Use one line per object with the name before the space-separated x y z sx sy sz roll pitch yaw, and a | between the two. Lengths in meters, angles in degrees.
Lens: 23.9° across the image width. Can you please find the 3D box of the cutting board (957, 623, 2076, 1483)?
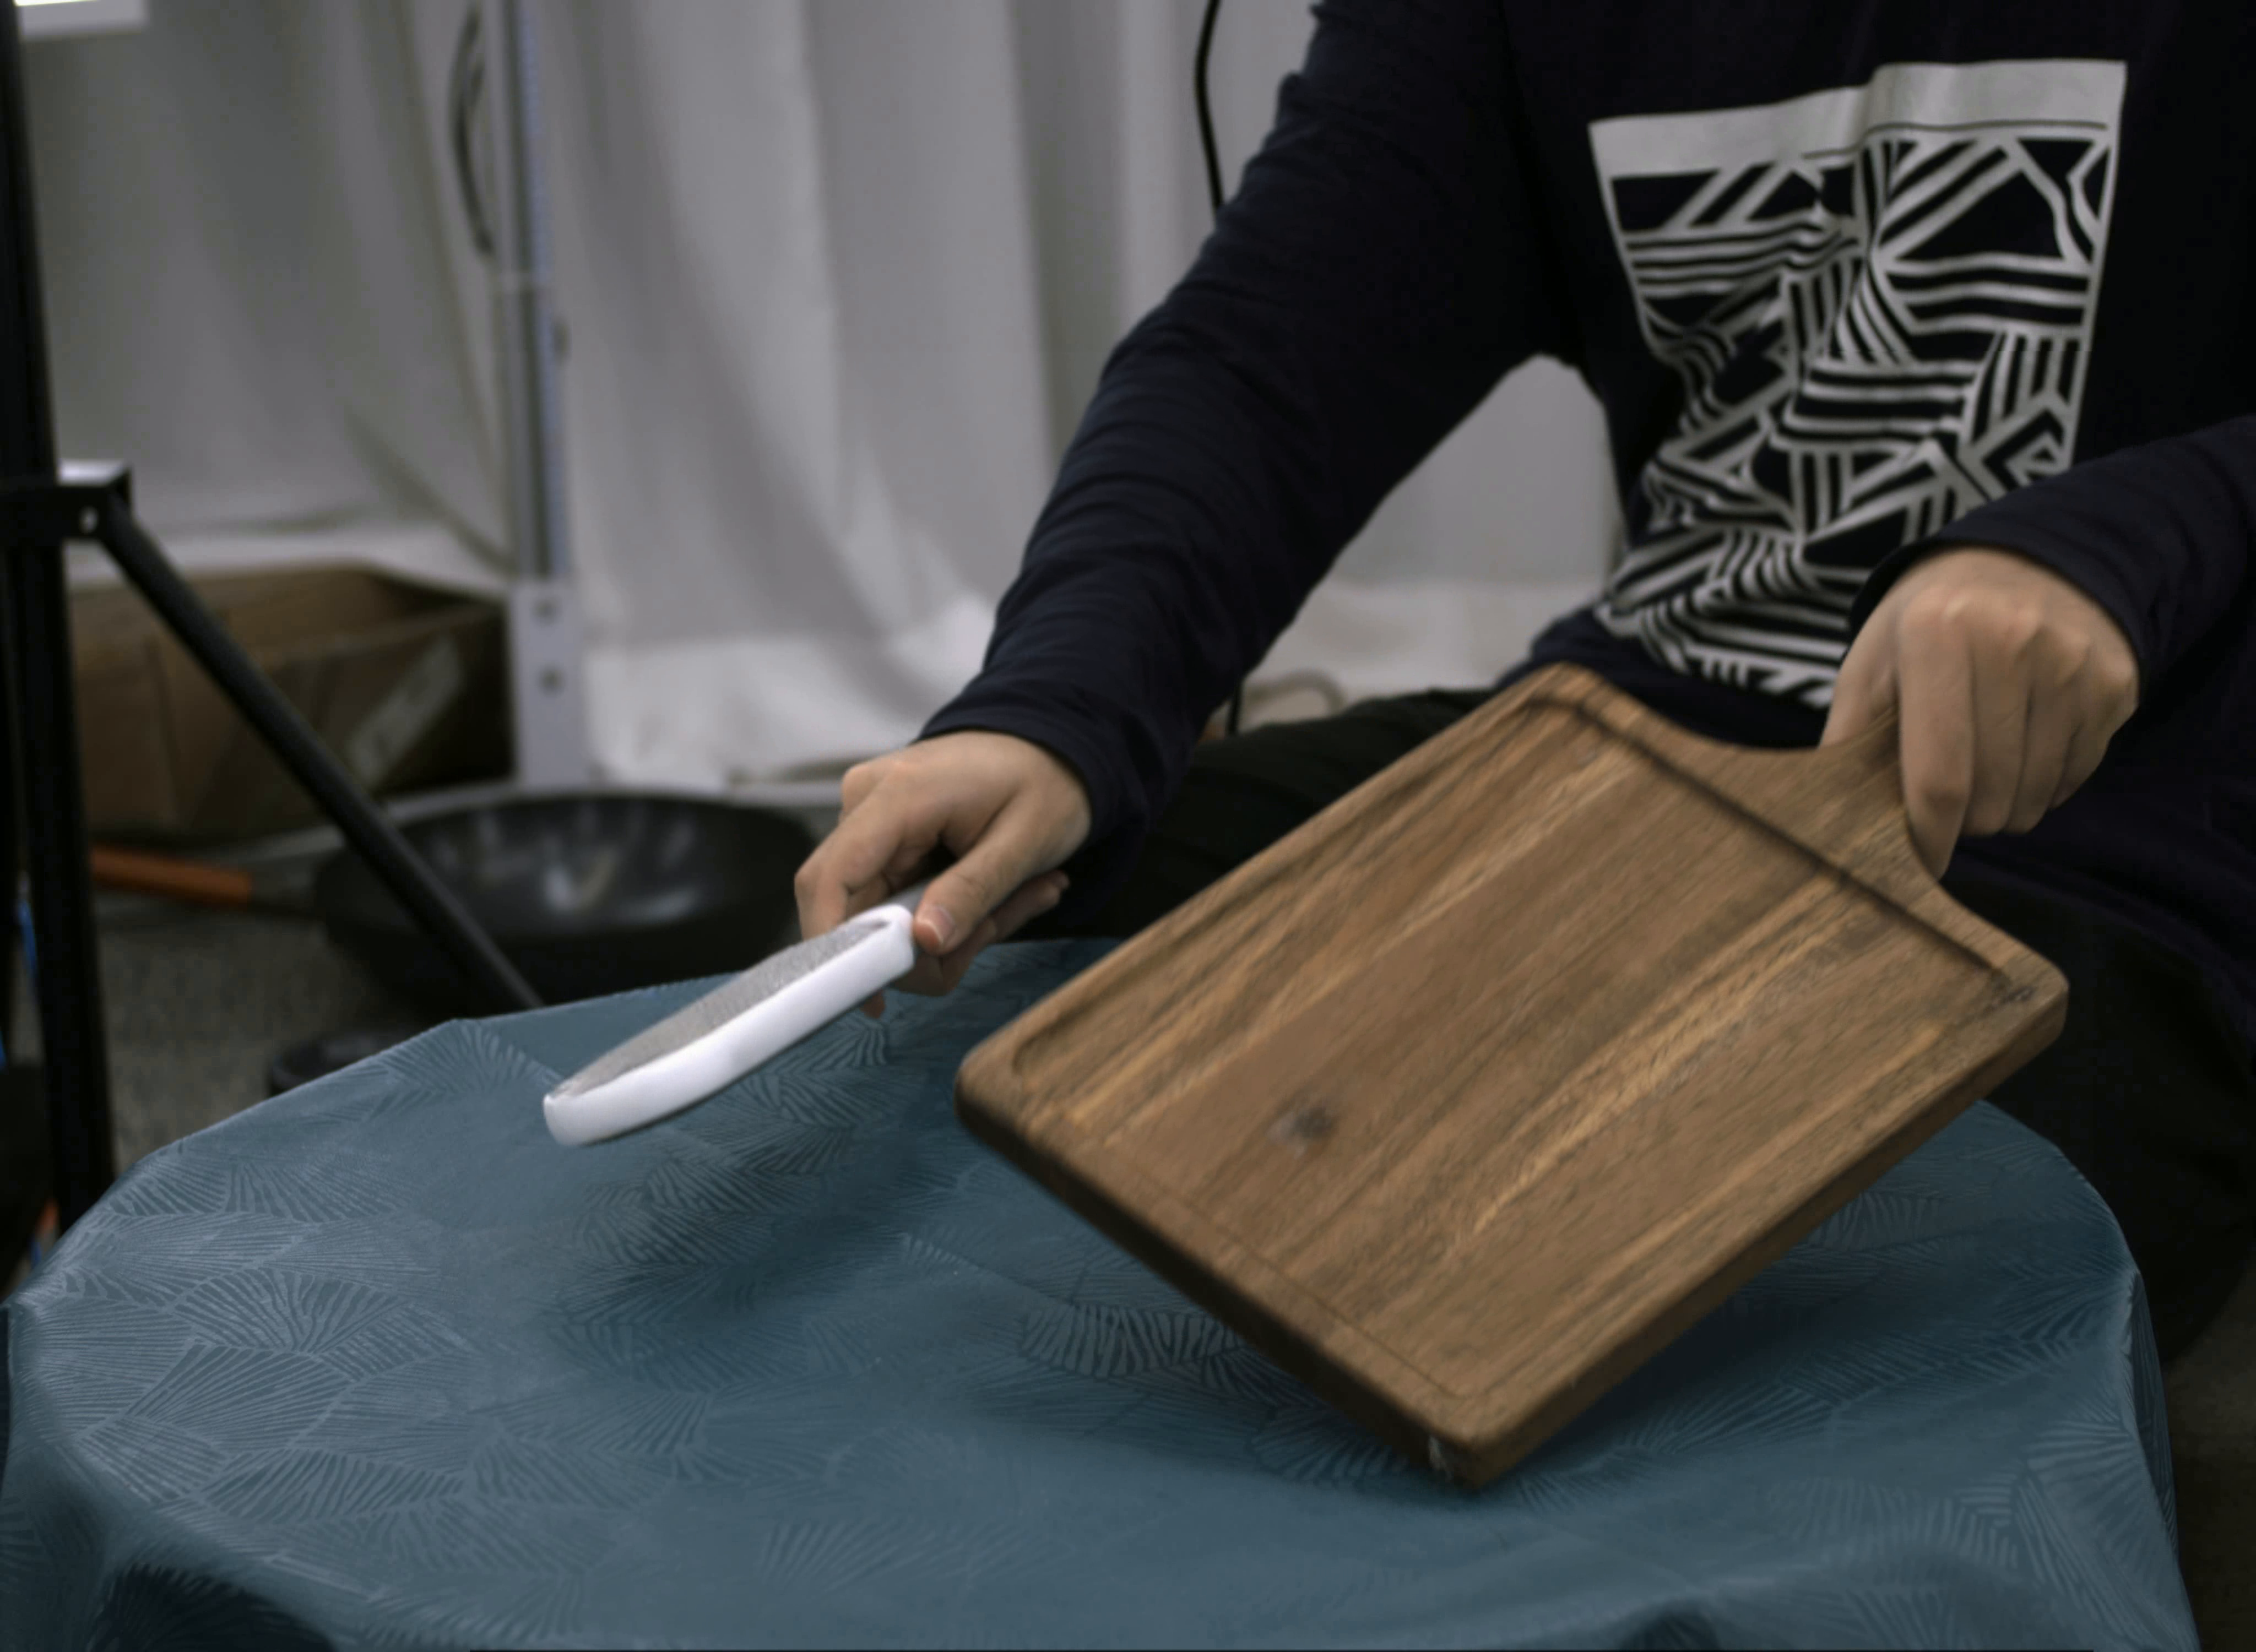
cutting board | 0.143 0.035 1.469 0.347 0.023 0.205 -33 51 -30

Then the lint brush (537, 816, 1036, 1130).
lint brush | -0.093 0.040 1.613 0.061 0.021 0.304 -25 3 25
